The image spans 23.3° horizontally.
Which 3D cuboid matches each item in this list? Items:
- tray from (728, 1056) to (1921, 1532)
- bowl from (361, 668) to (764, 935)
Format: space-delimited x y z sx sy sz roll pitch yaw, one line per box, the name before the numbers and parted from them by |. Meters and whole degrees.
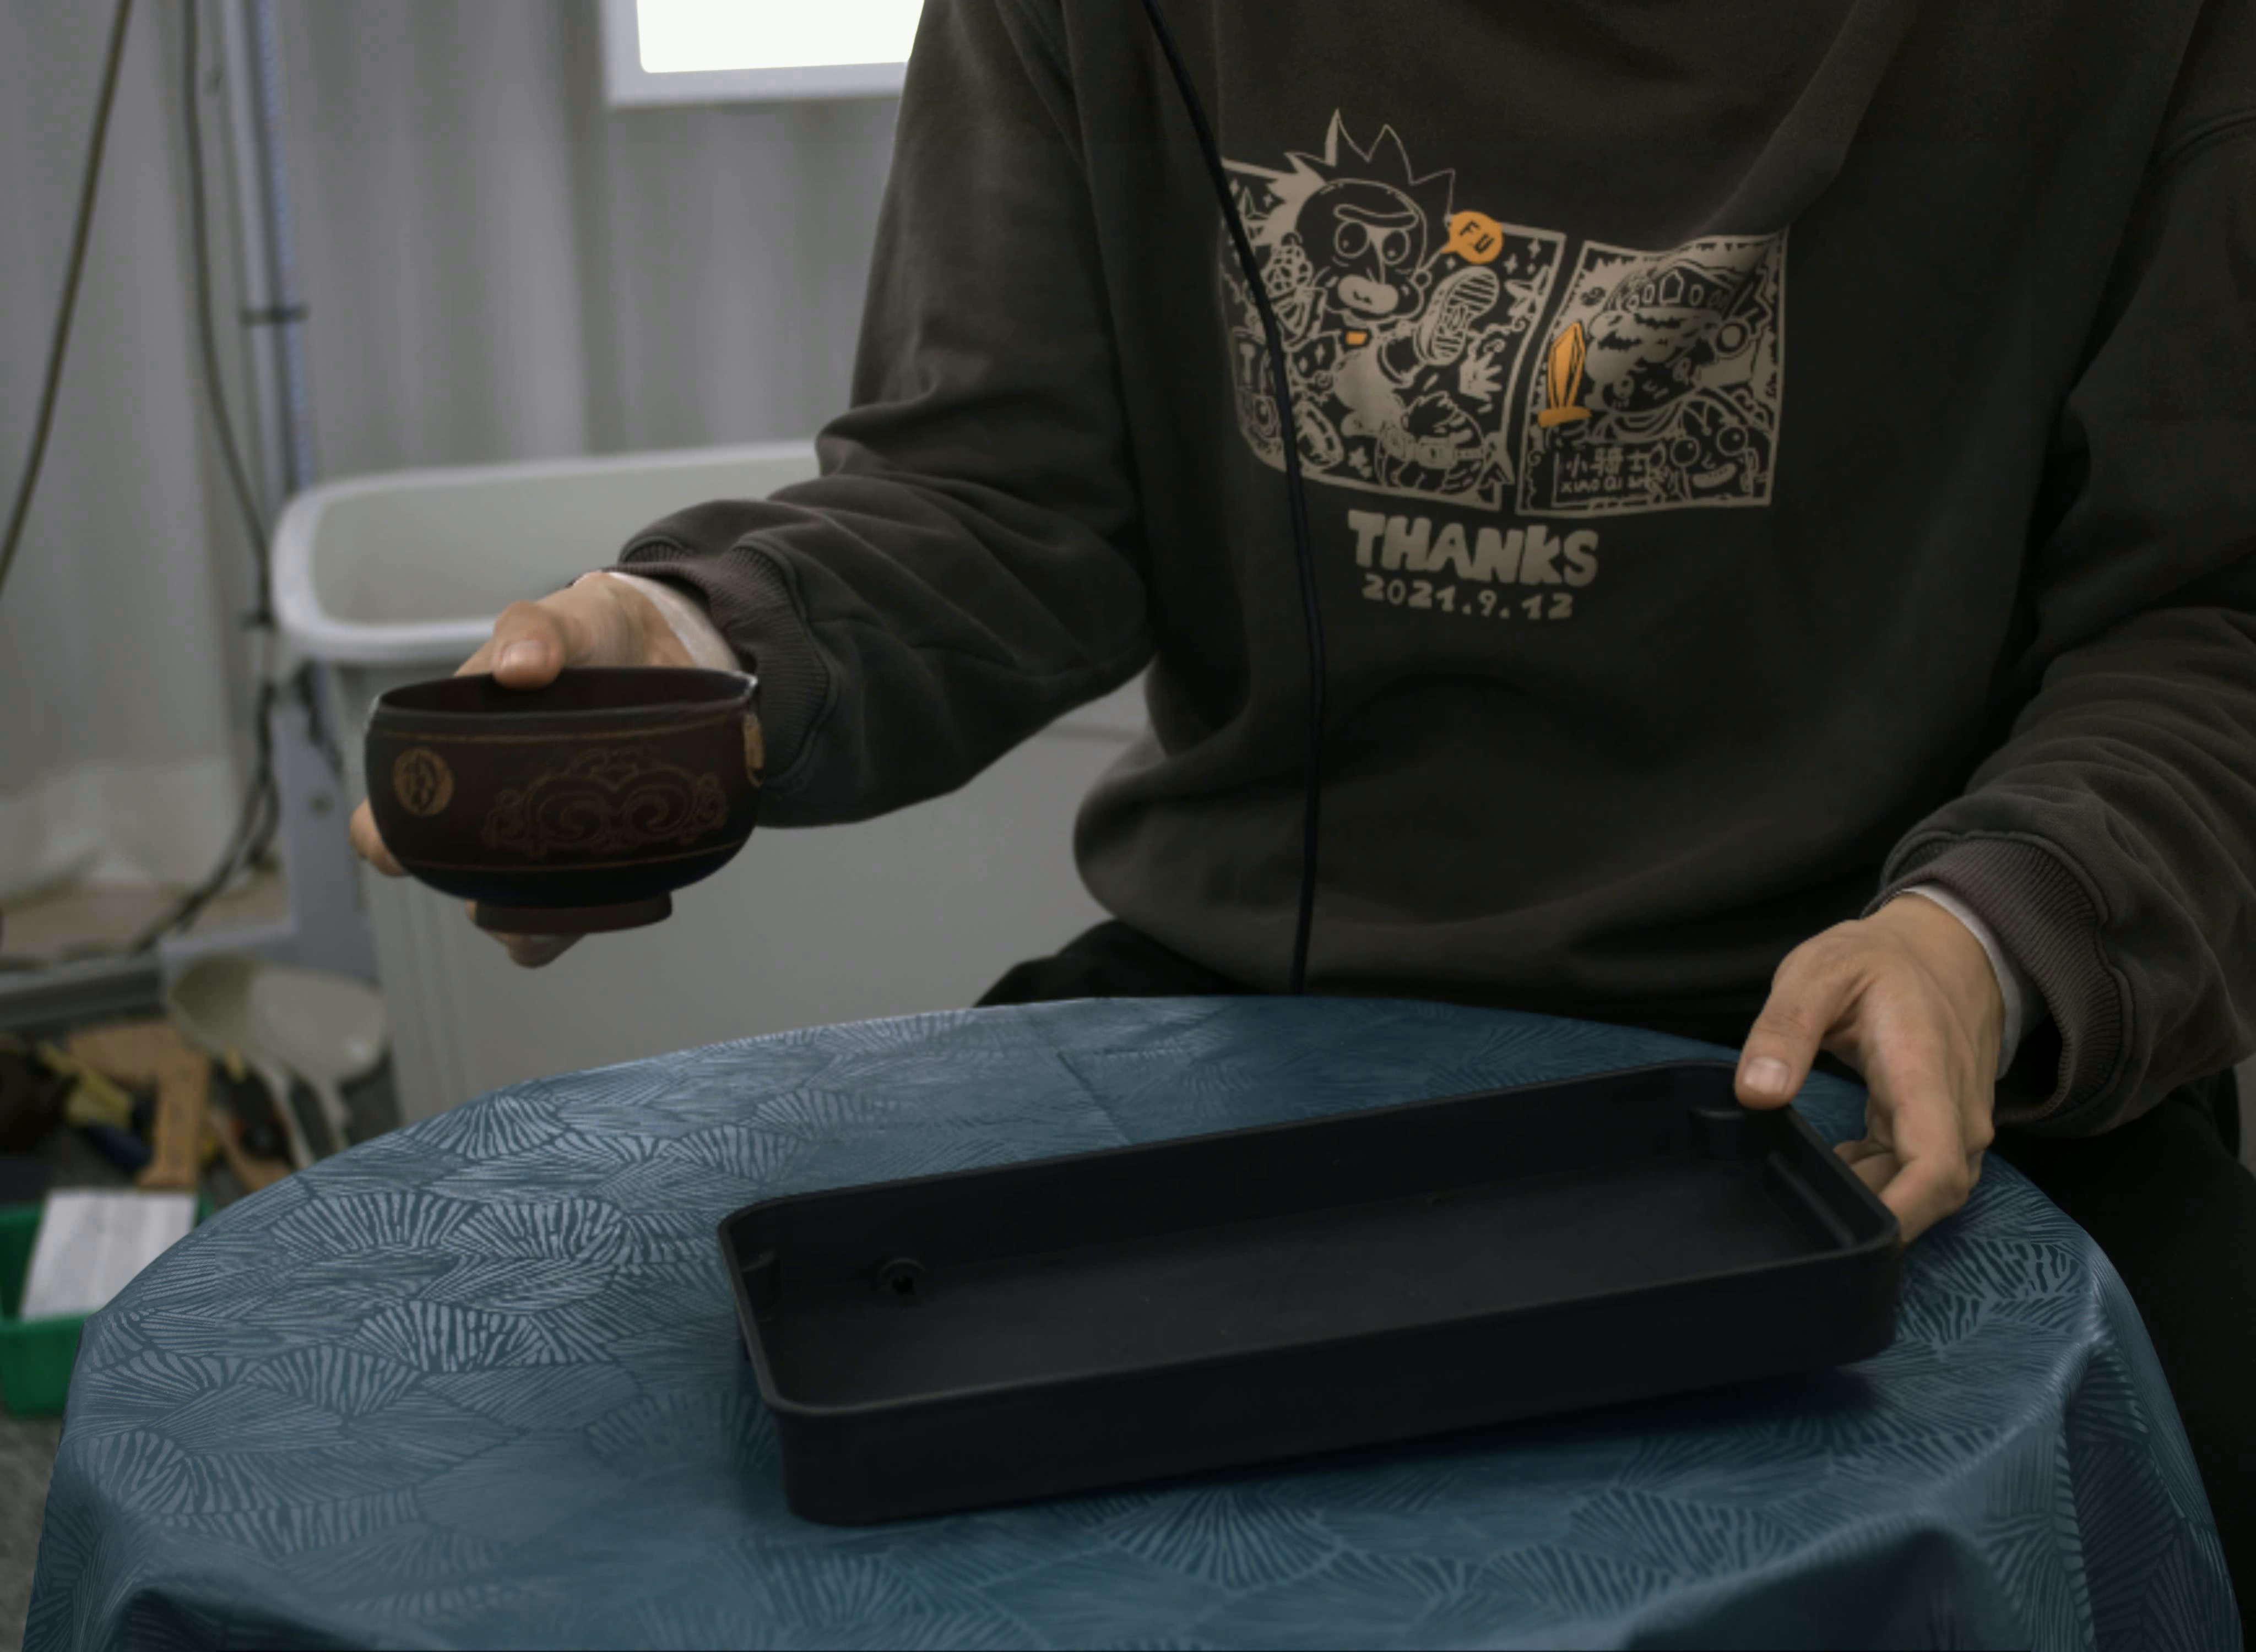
tray | 0.053 0.129 1.560 0.317 0.037 0.185 -9 15 -9
bowl | -0.165 -0.006 1.612 0.117 0.070 0.118 -2 7 0
